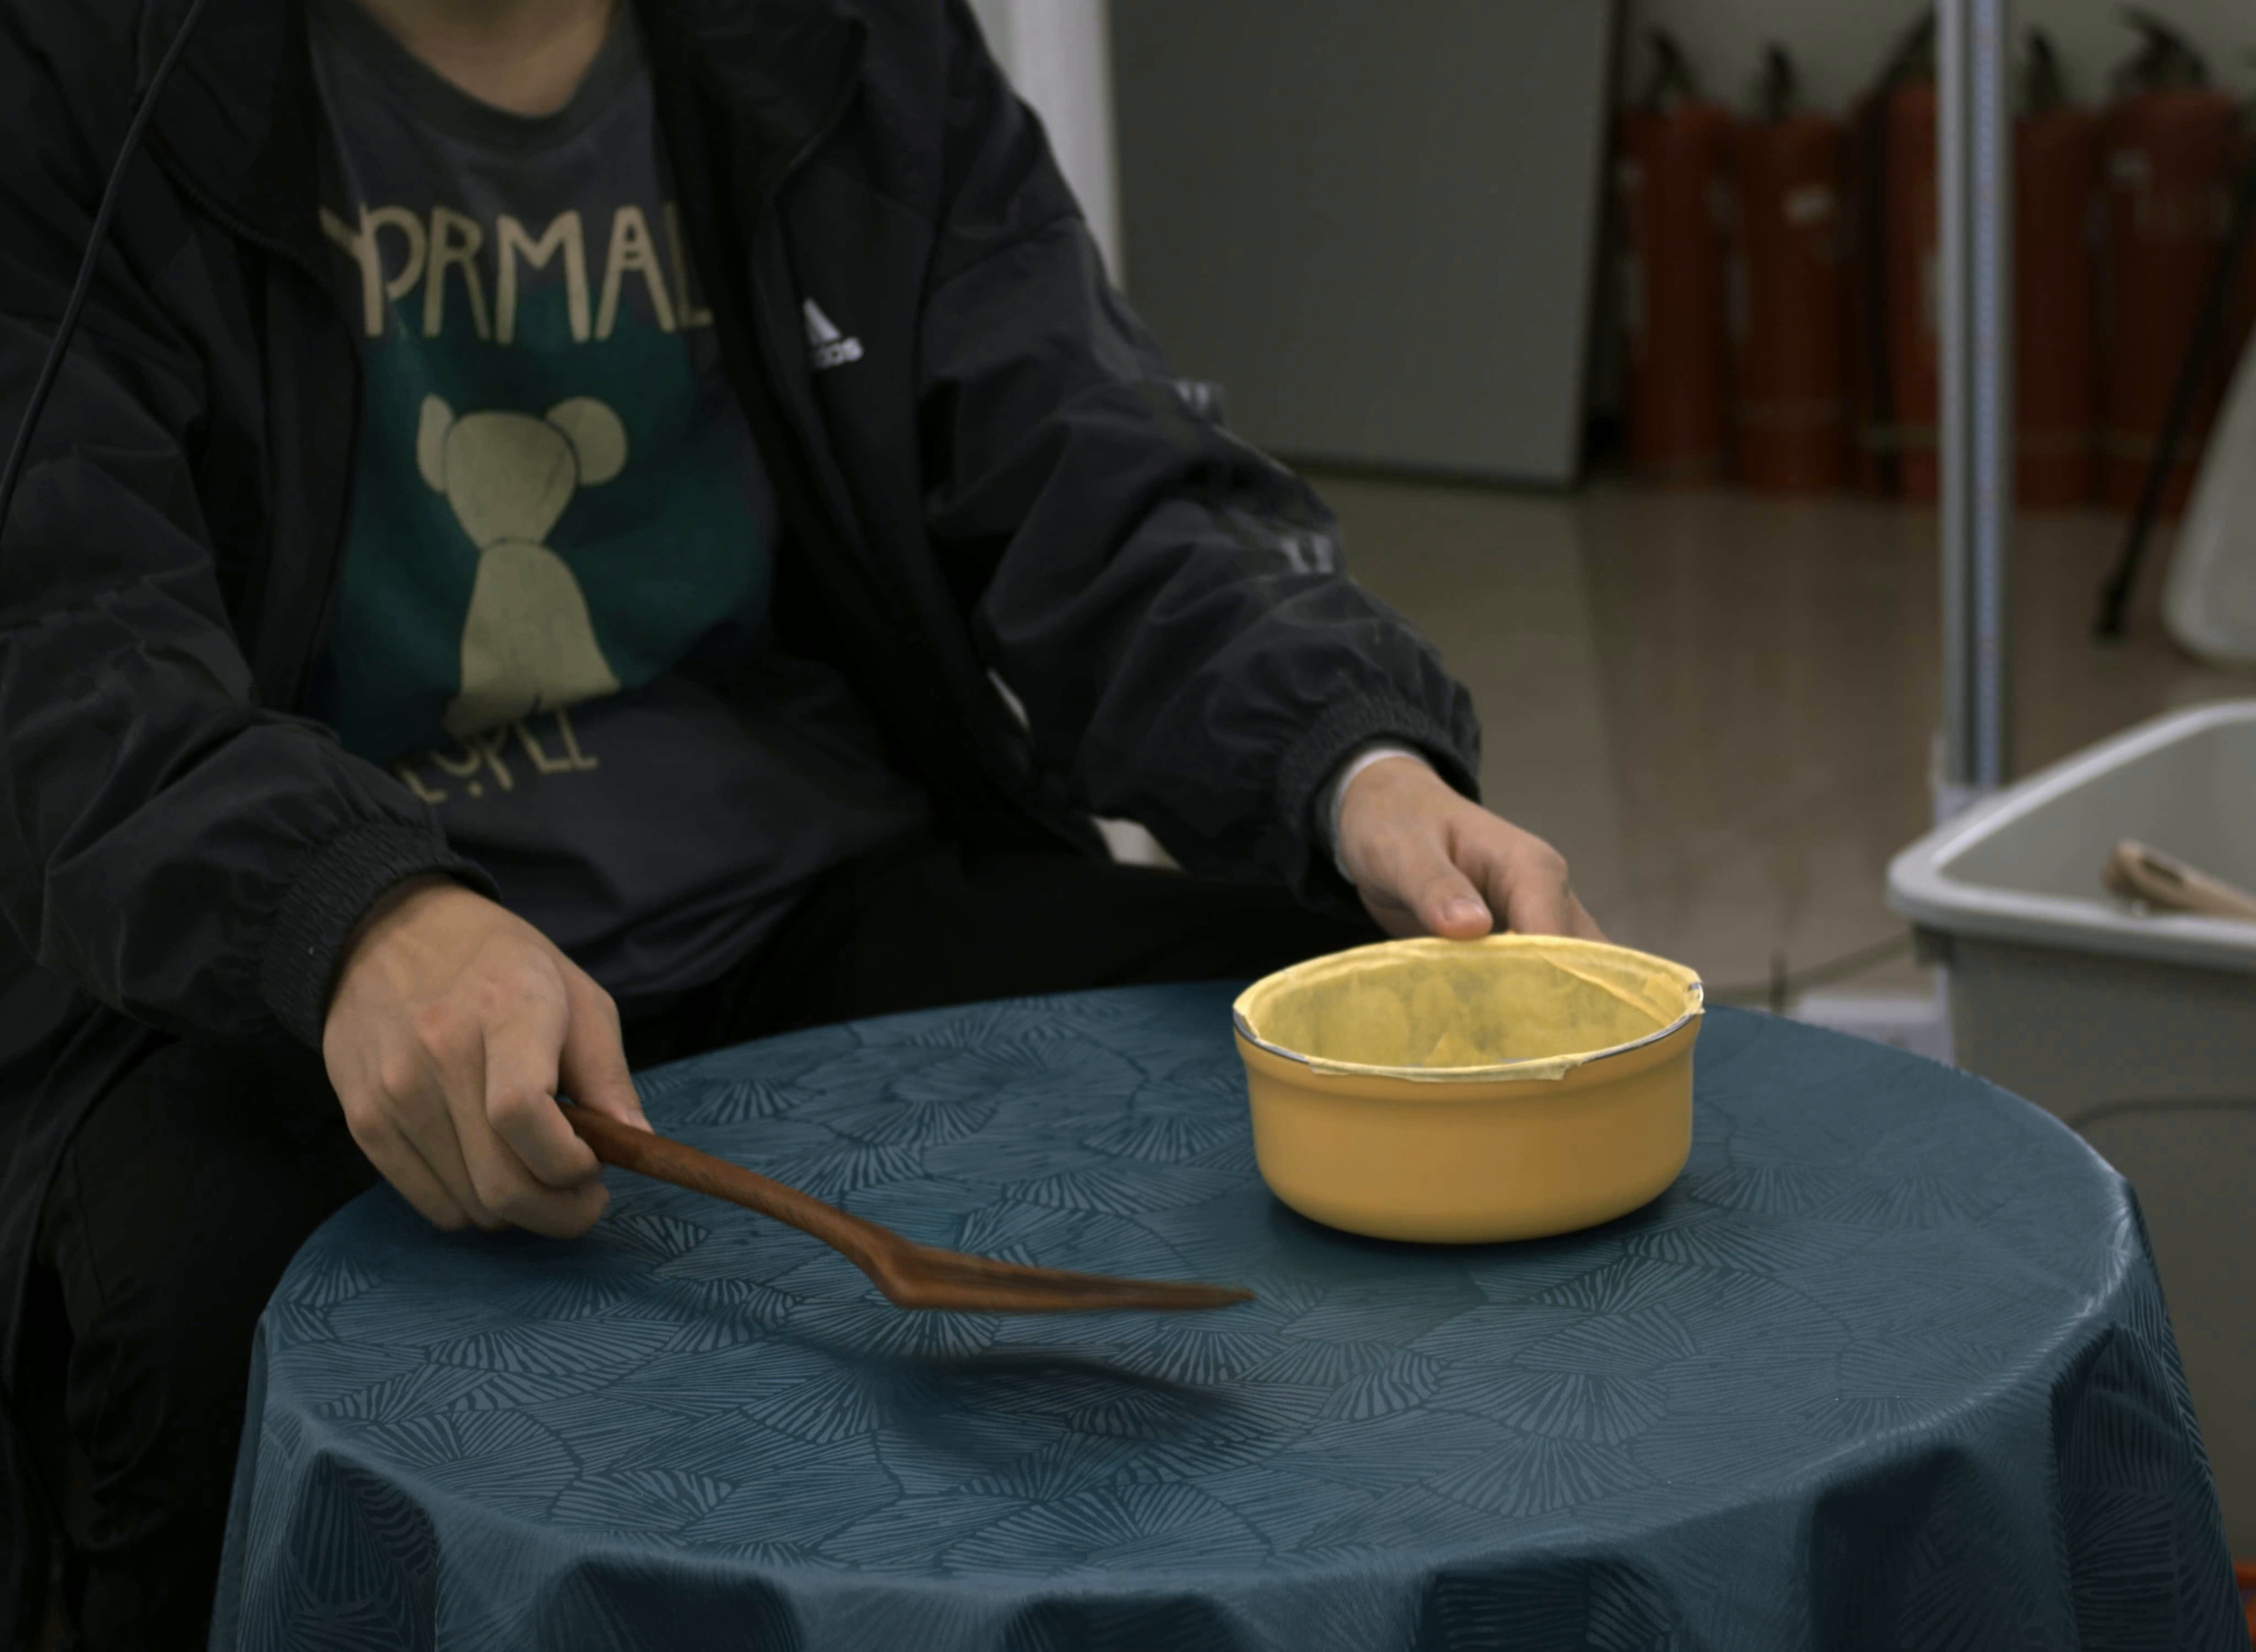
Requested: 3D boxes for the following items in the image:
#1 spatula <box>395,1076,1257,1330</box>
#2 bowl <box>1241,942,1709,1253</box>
[{"bbox_3d":[-0.113,0.120,1.681,0.083,0.024,0.390,2,8,-42],"label":"spatula"},{"bbox_3d":[0.113,0.087,1.750,0.151,0.075,0.179,-3,14,2],"label":"bowl"}]
